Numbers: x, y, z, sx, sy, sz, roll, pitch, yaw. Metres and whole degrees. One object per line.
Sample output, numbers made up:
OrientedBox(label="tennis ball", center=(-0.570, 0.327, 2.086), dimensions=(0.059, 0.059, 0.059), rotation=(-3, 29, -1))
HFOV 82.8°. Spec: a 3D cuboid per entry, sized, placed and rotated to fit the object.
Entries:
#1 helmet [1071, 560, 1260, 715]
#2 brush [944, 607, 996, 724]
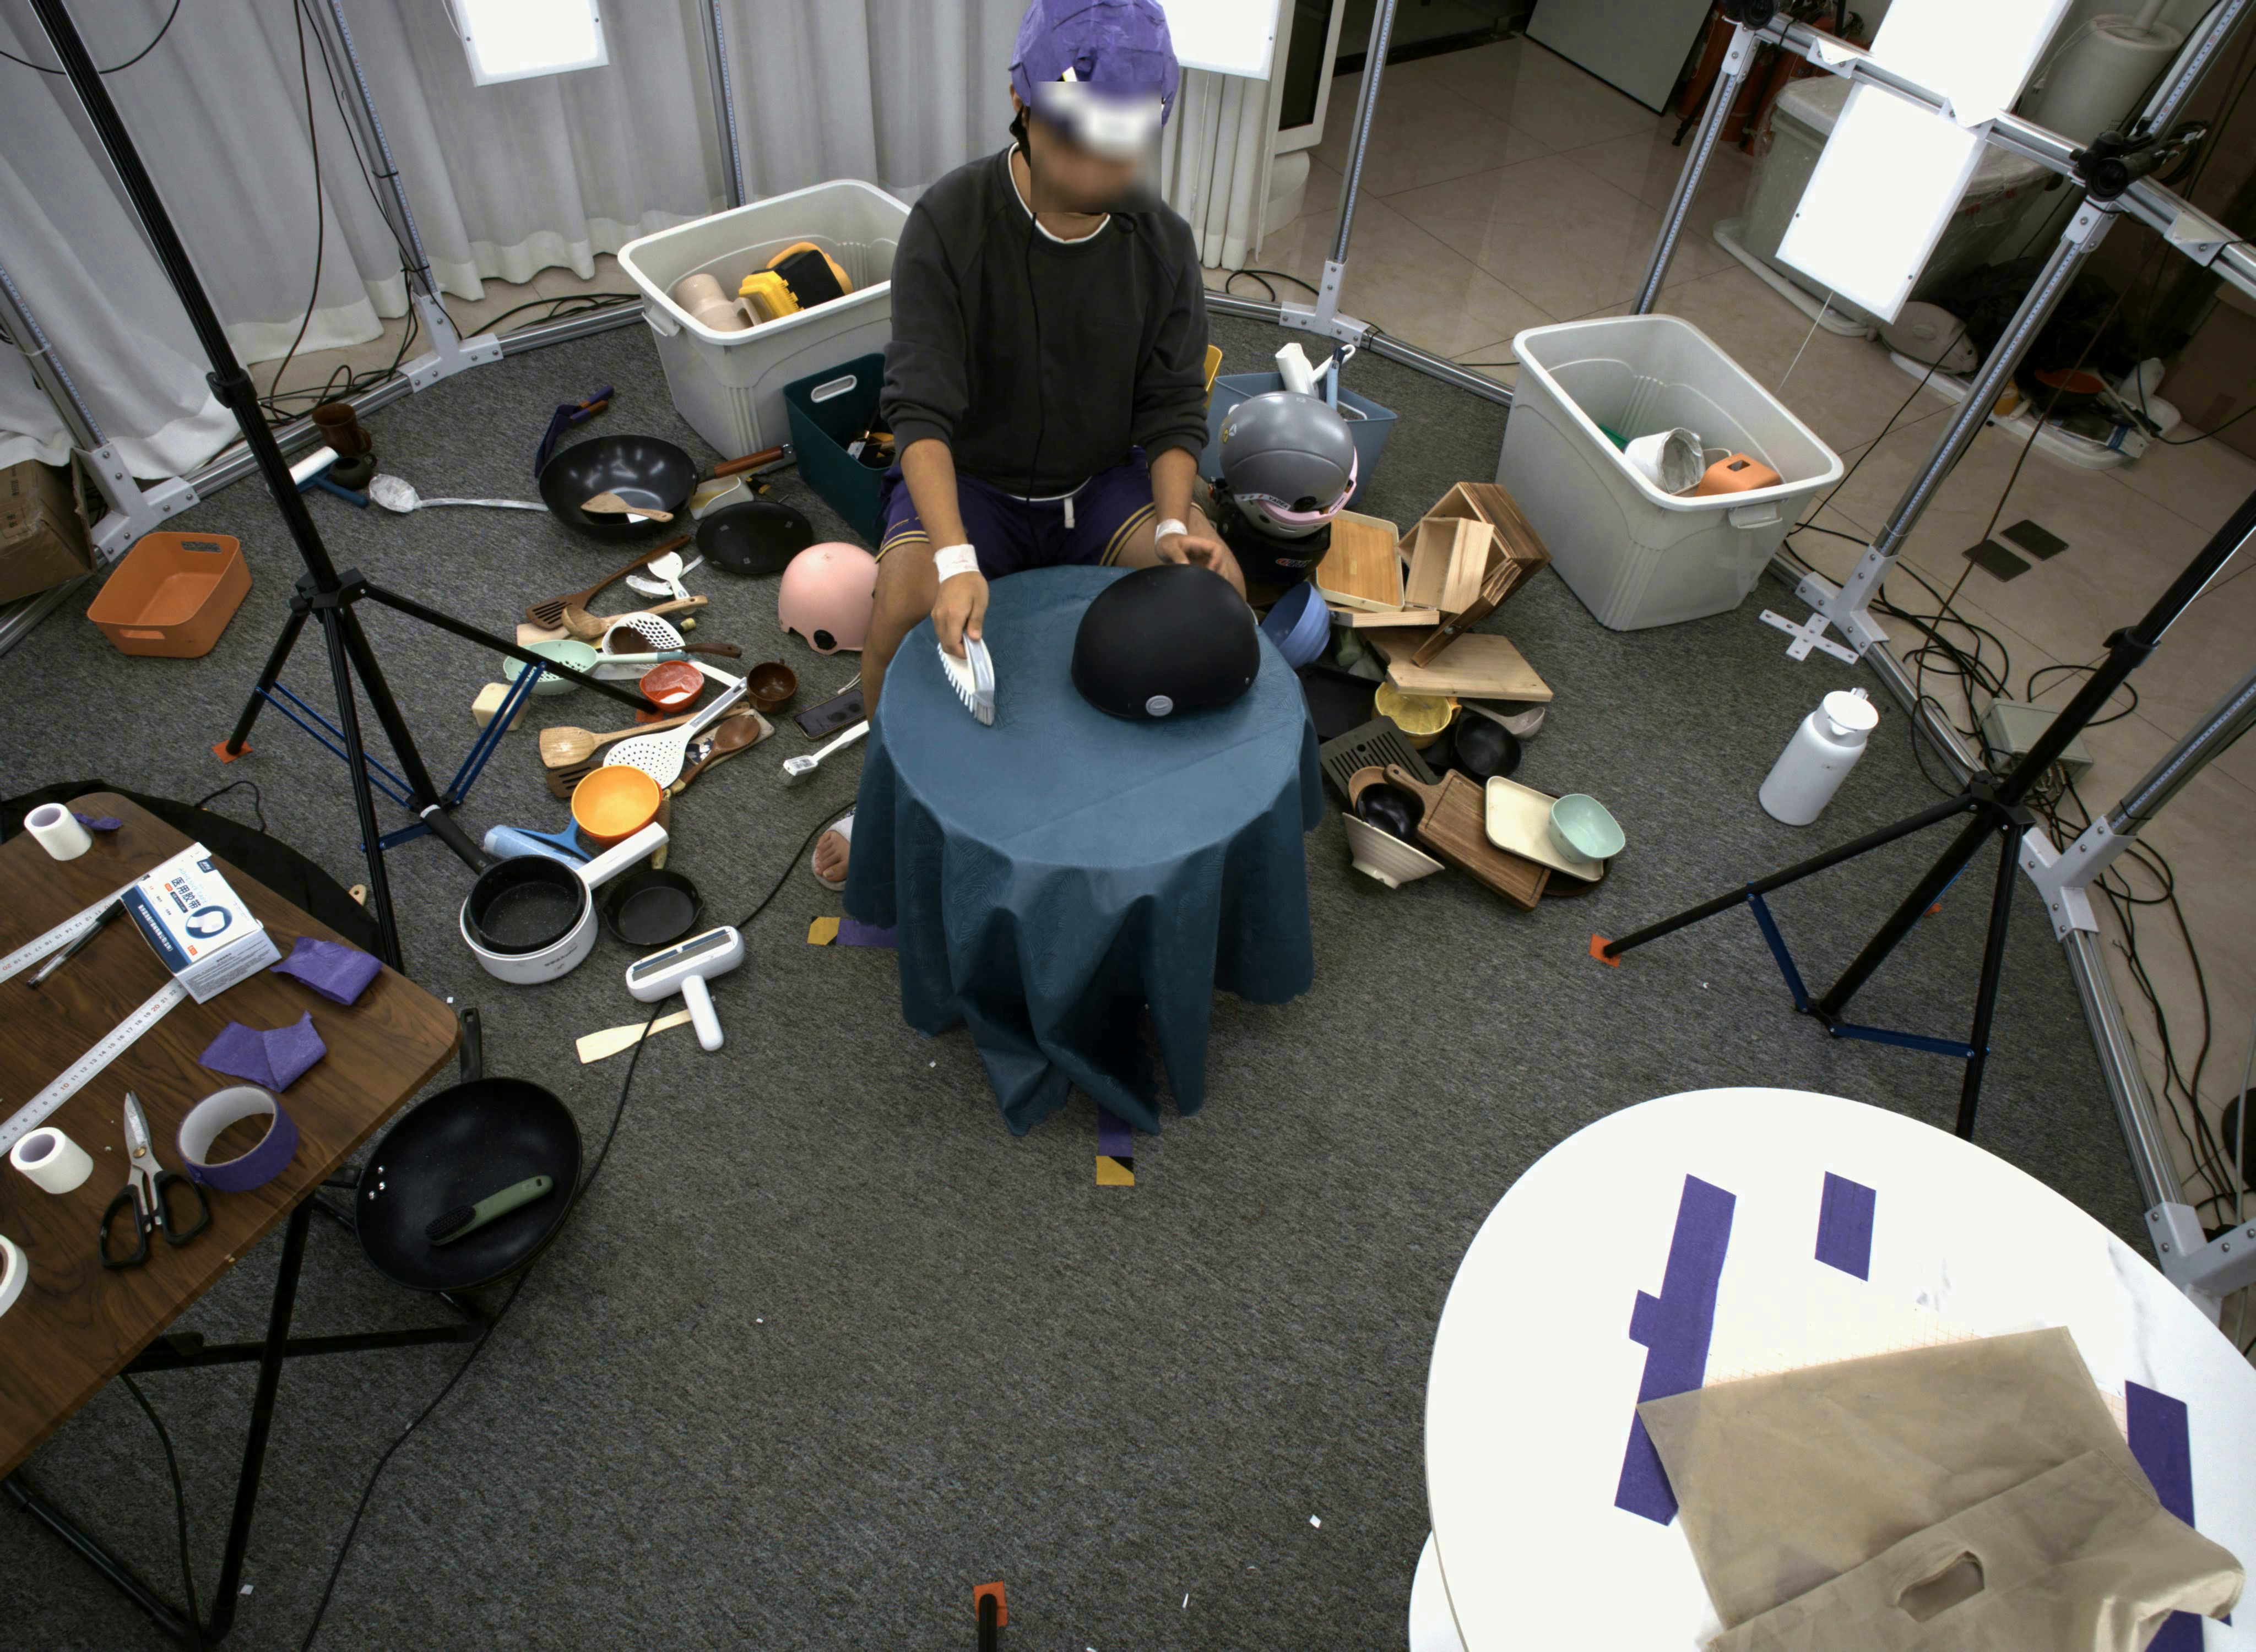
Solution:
OrientedBox(label="helmet", center=(0.055, -0.280, 1.811), dimensions=(0.273, 0.163, 0.236), rotation=(-9, 50, -9))
OrientedBox(label="brush", center=(-0.214, -0.233, 1.794), dimensions=(0.061, 0.092, 0.180), rotation=(-10, 53, -14))
